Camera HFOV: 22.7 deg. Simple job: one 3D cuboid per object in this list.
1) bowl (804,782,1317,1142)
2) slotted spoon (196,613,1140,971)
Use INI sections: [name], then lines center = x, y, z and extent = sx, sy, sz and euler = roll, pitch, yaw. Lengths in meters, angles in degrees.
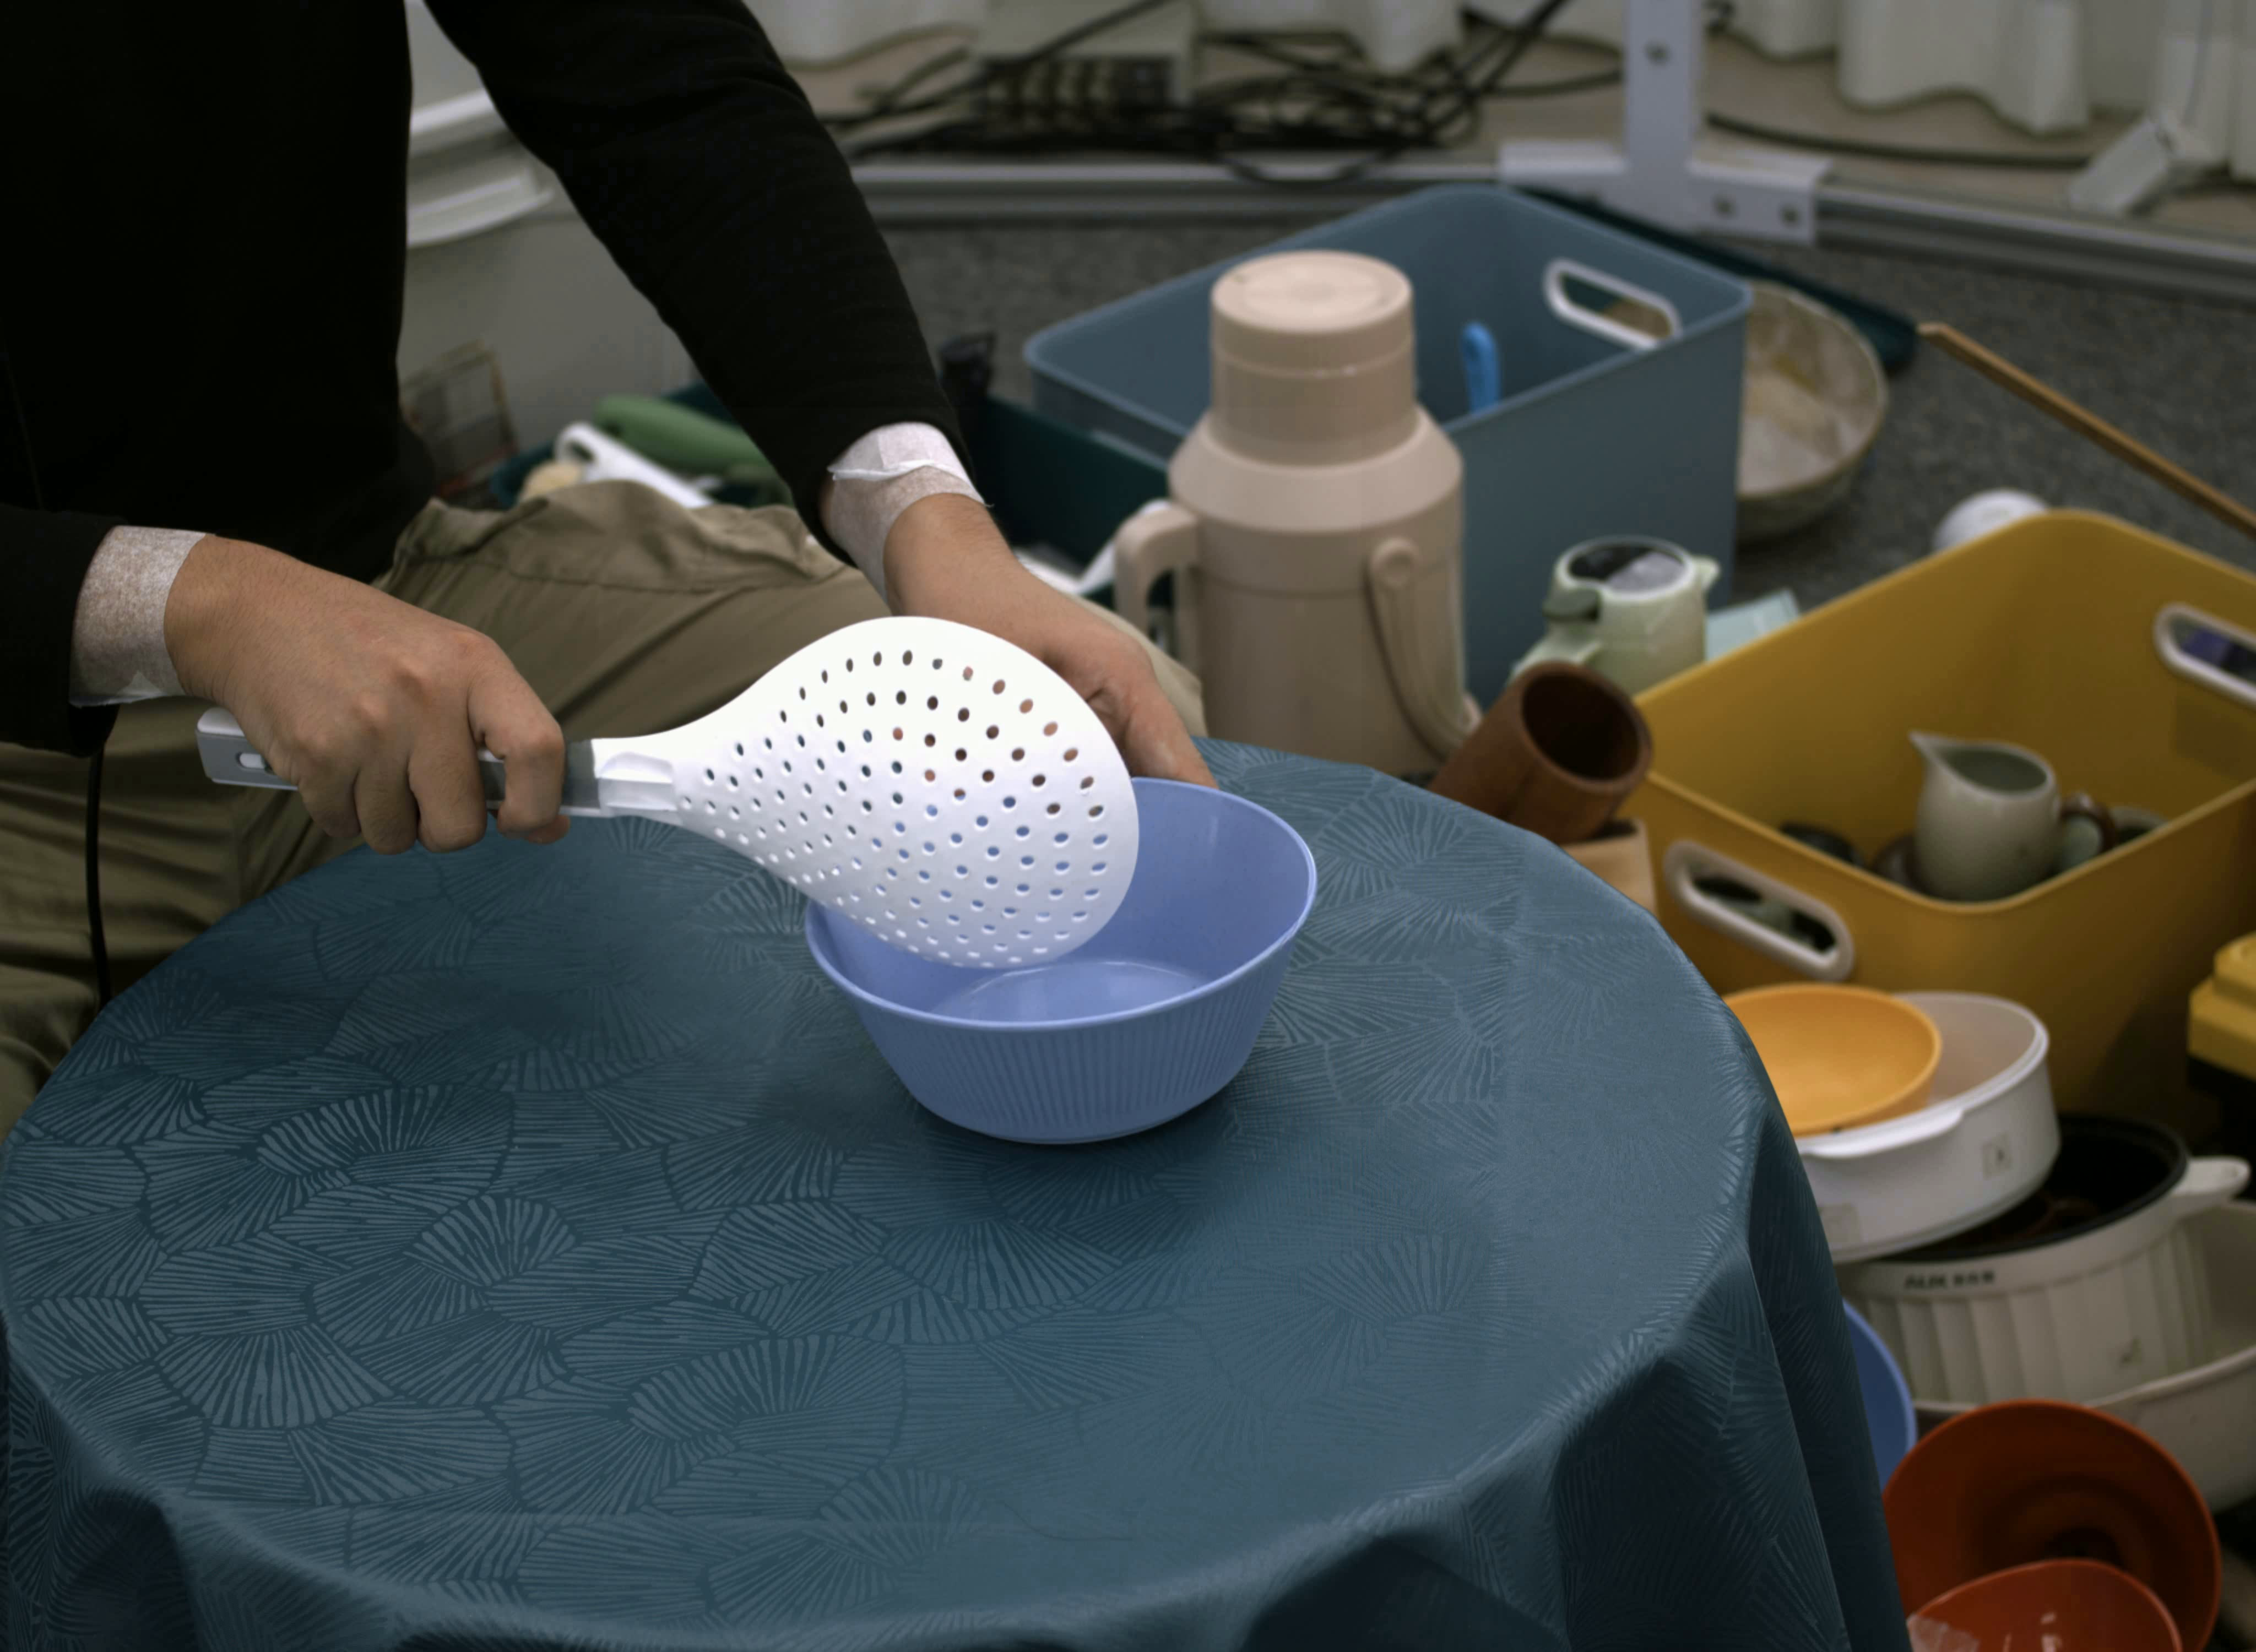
[bowl]
center = -0.020, 0.052, 1.920
extent = 0.175, 0.069, 0.178
euler = -5, 26, 3
[slotted spoon]
center = -0.162, -0.015, 1.907
extent = 0.347, 0.134, 0.046
euler = 7, 31, 25
